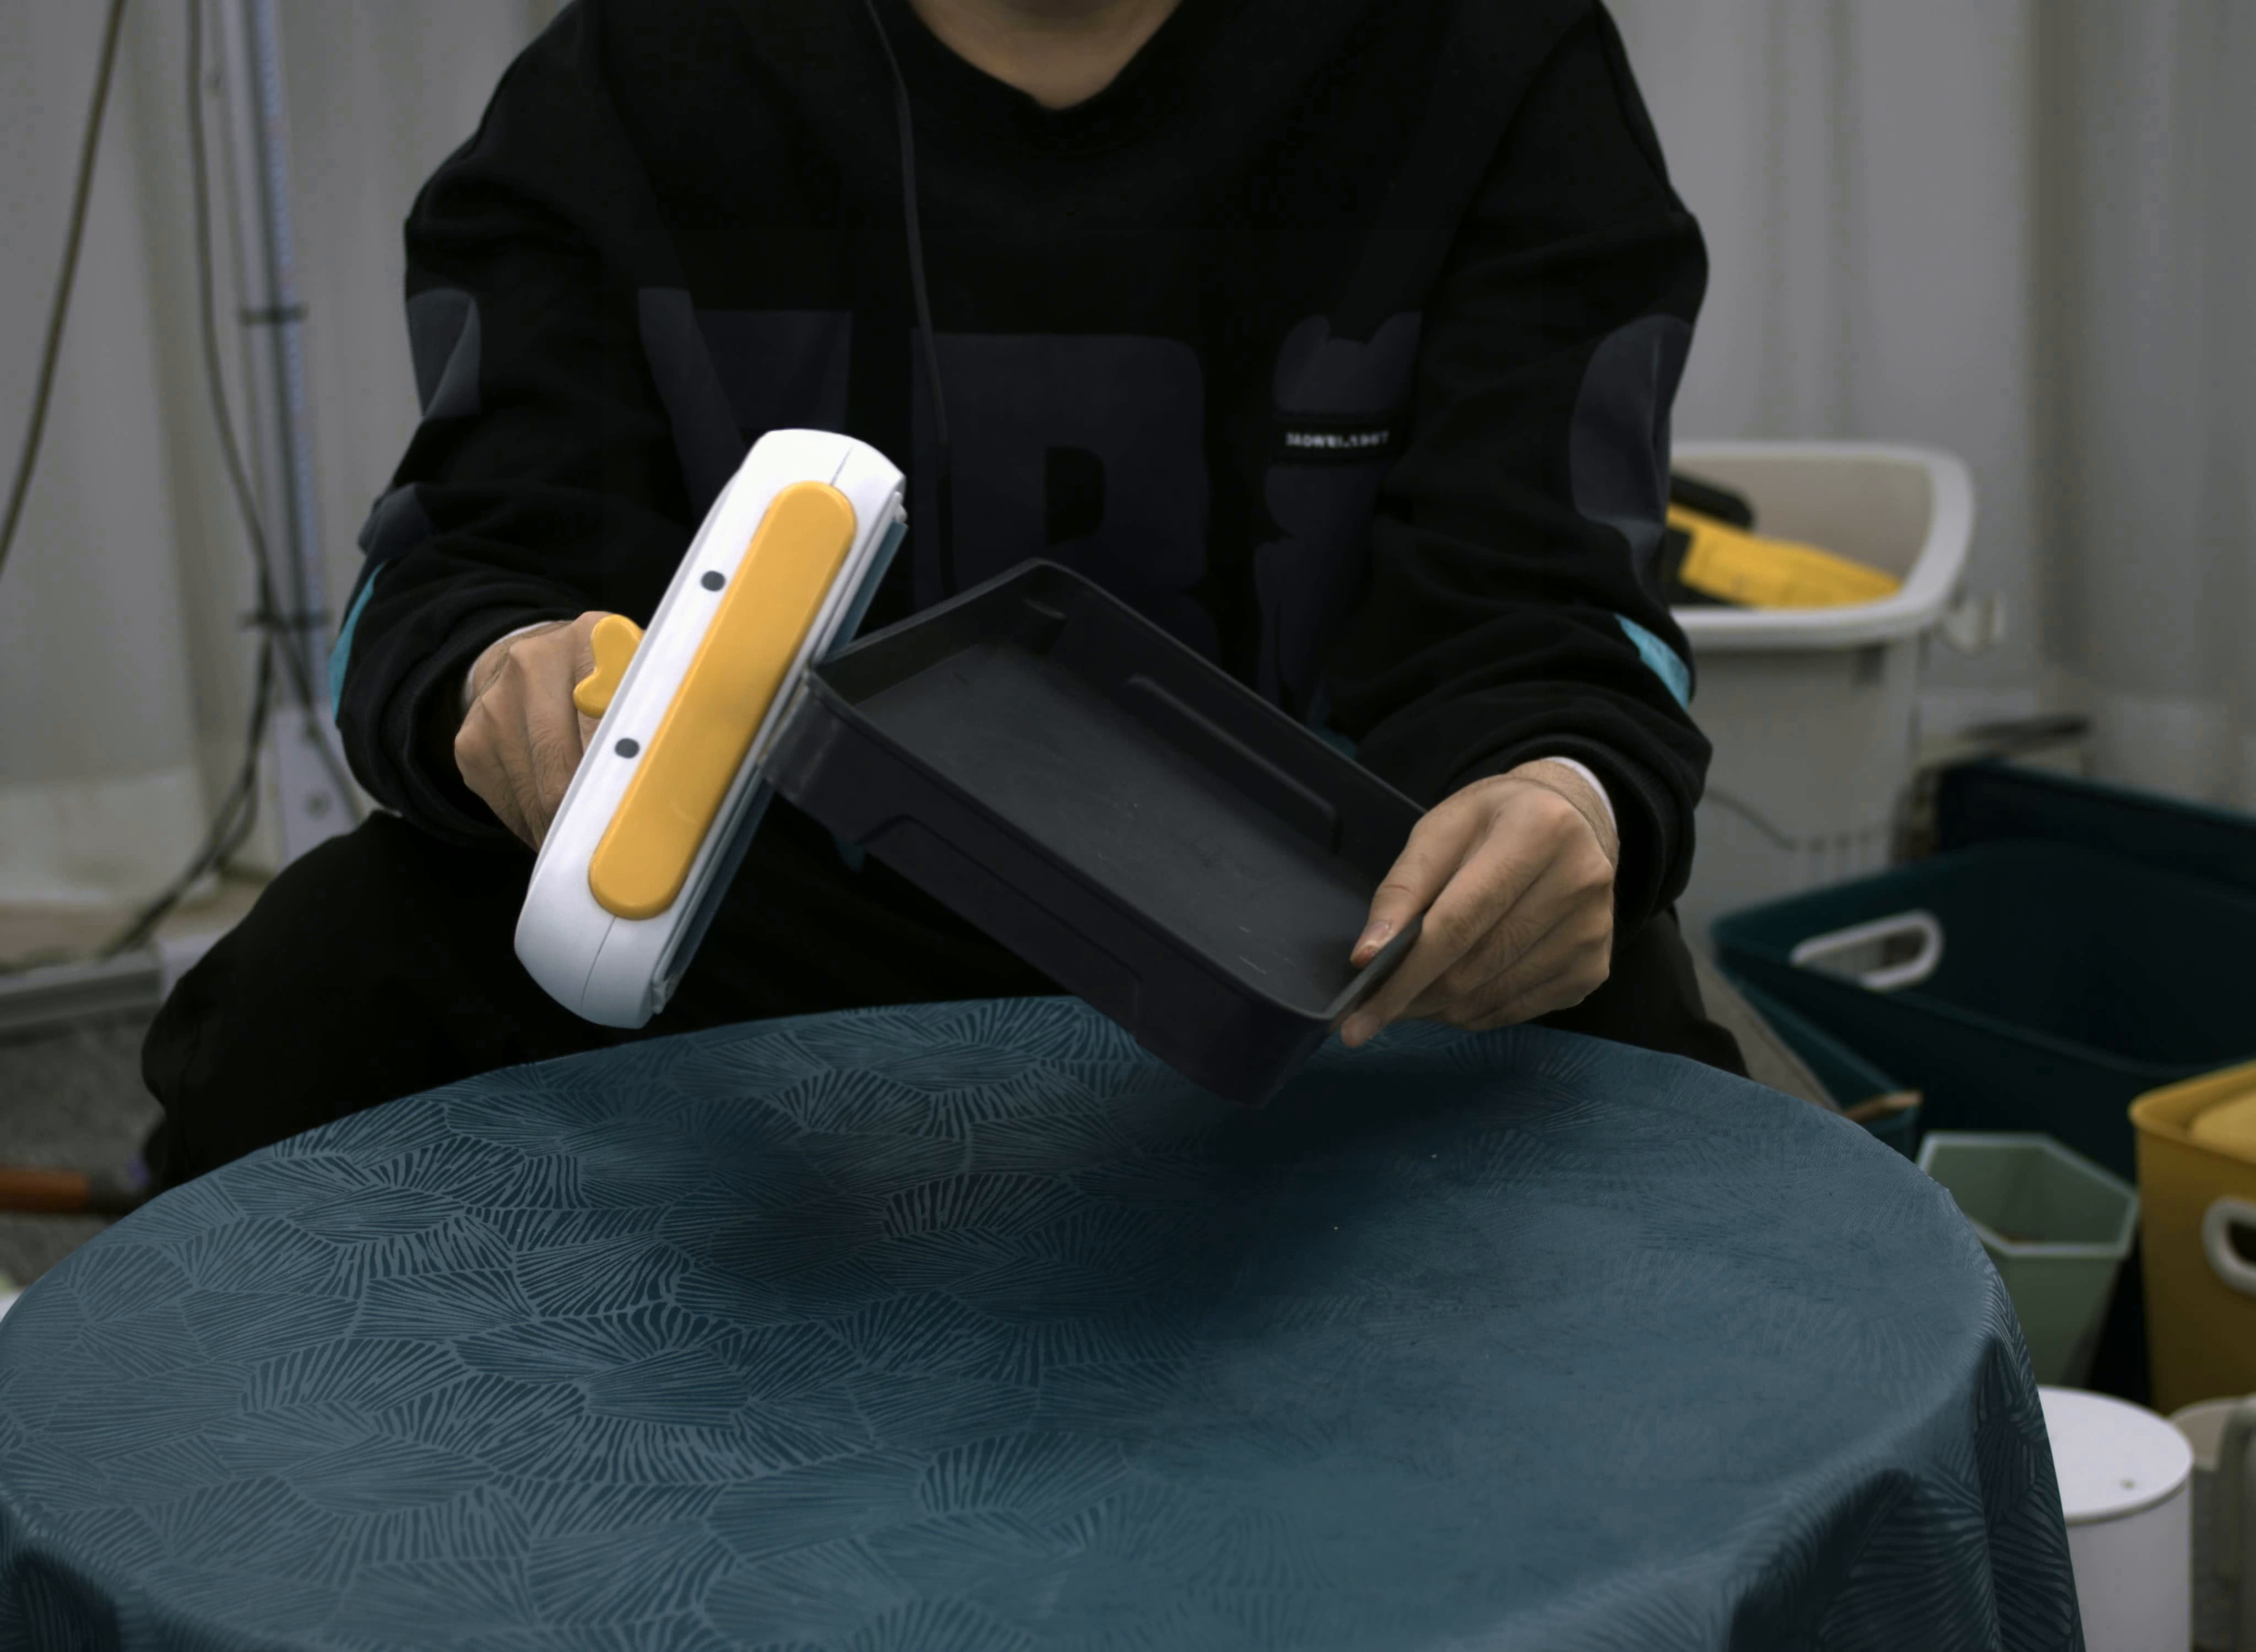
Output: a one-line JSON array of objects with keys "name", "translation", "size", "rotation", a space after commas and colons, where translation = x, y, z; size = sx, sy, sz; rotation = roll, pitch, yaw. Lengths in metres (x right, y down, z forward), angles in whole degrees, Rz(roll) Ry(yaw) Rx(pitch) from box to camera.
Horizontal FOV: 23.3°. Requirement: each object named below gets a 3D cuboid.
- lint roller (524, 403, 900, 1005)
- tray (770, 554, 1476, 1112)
[{"name": "lint roller", "translation": [-0.142, -0.025, 1.693], "size": [0.074, 0.194, 0.191], "rotation": [22, -20, -6]}, {"name": "tray", "translation": [0.005, -0.004, 1.698], "size": [0.184, 0.037, 0.318], "rotation": [34, 14, 5]}]
